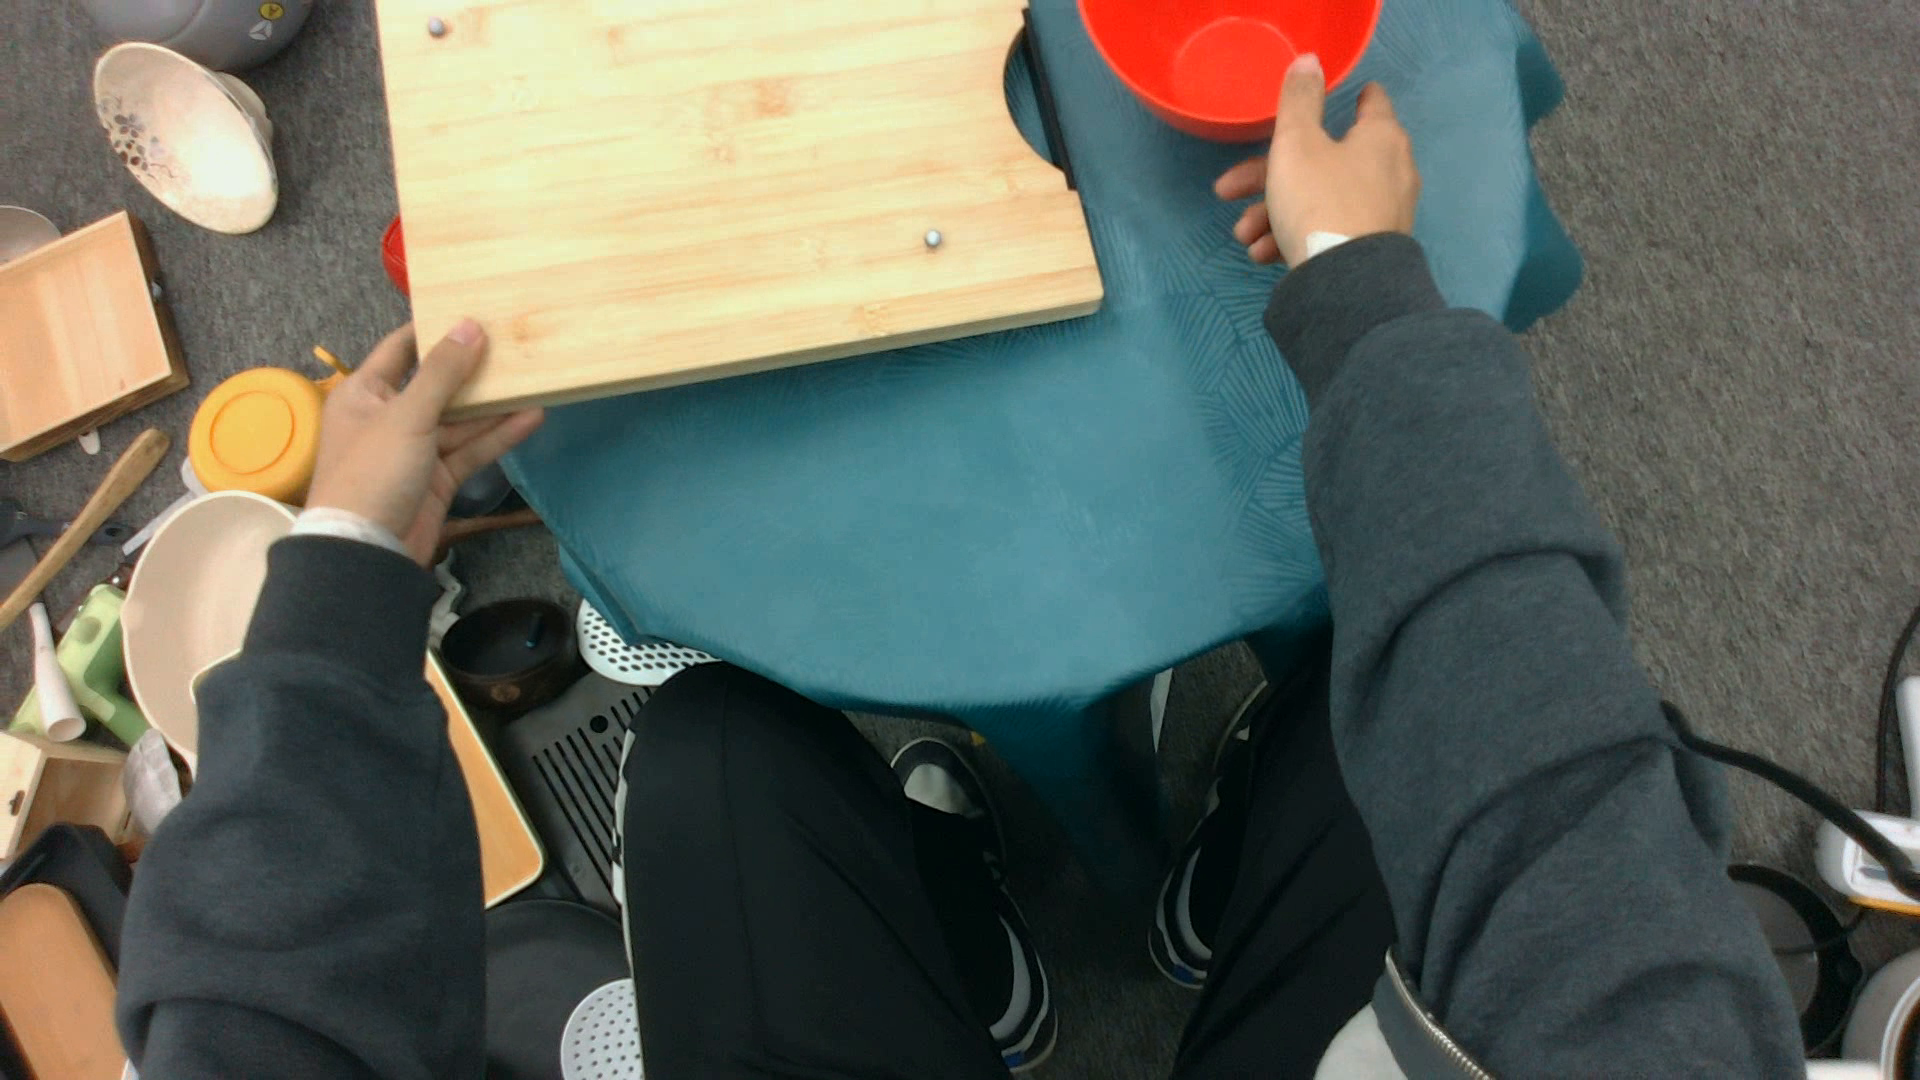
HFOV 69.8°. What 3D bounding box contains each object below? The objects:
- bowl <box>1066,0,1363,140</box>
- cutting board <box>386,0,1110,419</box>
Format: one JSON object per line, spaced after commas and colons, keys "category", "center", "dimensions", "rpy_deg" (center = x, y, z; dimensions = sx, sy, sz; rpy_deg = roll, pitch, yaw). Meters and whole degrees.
{"category": "bowl", "center": [0.128, -0.268, 0.705], "dimensions": [0.148, 0.104, 0.148], "rpy_deg": [-1, 78, 6]}
{"category": "cutting board", "center": [-0.117, -0.206, 0.726], "dimensions": [0.349, 0.023, 0.251], "rpy_deg": [-12, 74, -7]}
